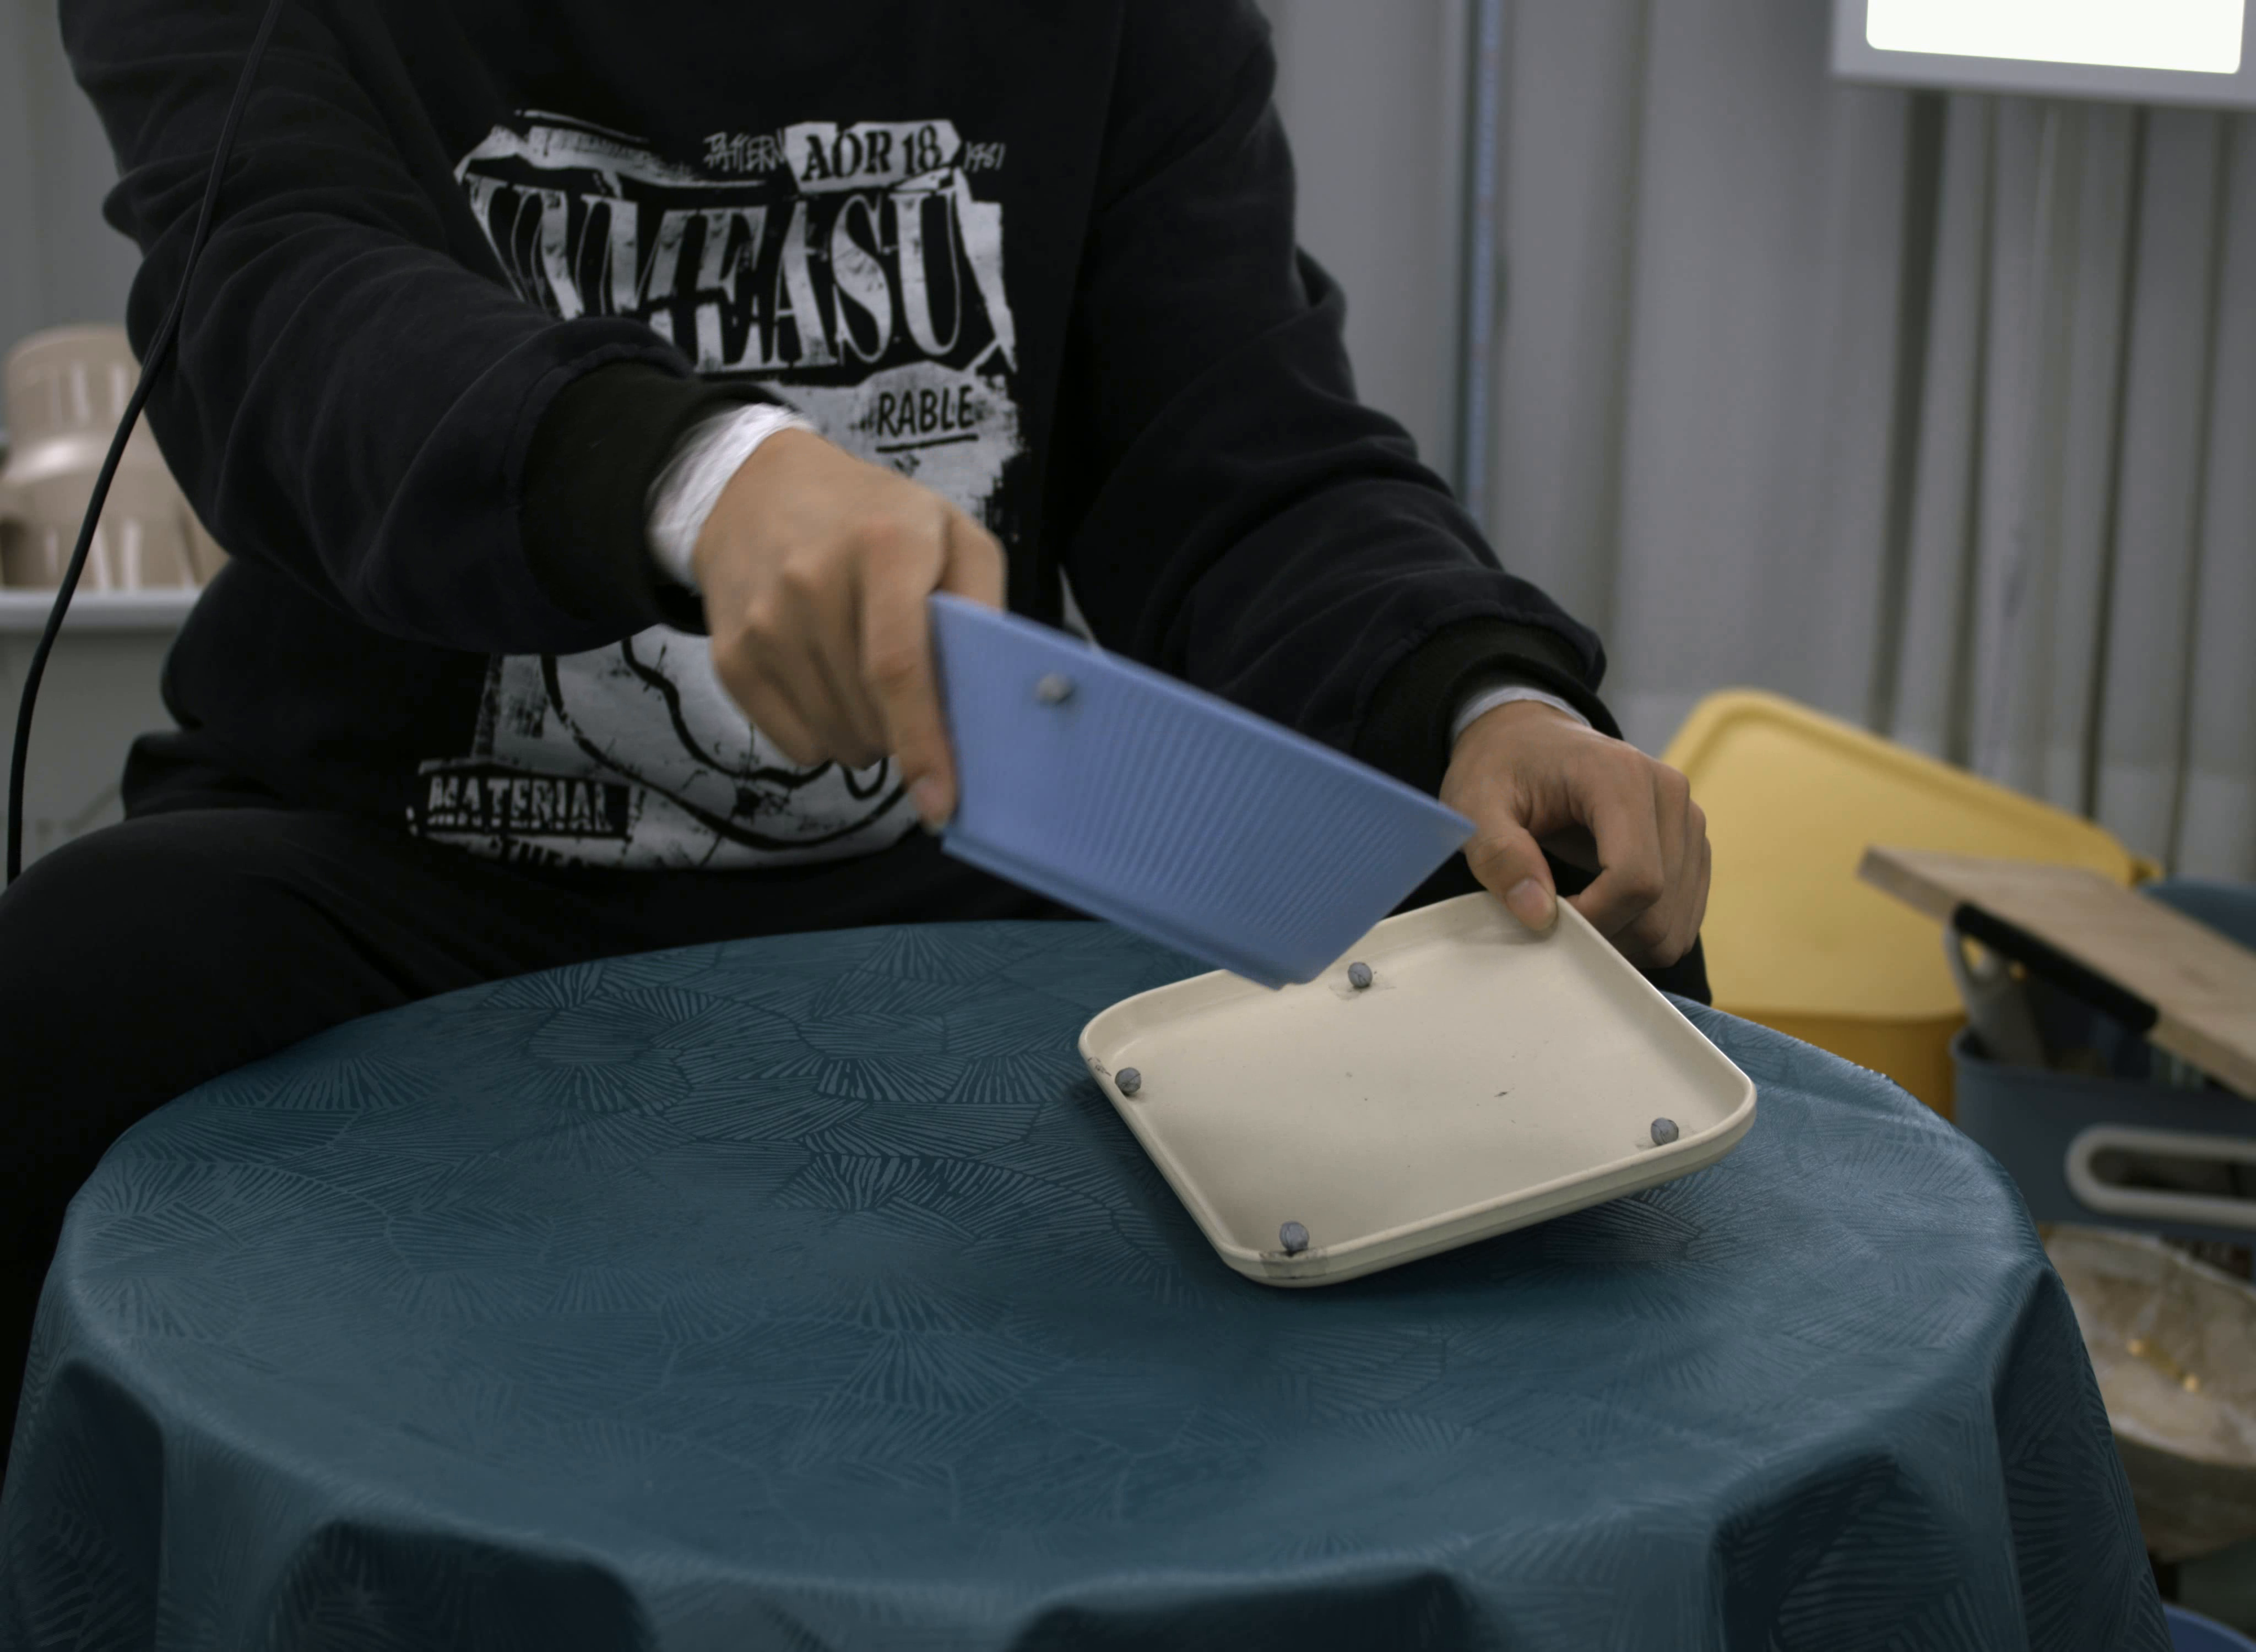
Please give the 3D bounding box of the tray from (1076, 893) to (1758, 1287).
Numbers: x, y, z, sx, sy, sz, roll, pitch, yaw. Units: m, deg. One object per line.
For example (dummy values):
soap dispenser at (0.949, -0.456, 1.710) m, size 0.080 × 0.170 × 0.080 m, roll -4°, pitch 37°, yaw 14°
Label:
tray at (0.087, 0.081, 1.647) m, size 0.171 × 0.017 × 0.237 m, roll -15°, pitch 20°, yaw -10°

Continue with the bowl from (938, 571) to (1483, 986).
bowl at (0.011, -0.007, 1.539) m, size 0.175 × 0.070 × 0.176 m, roll 25°, pitch -2°, yaw 2°
